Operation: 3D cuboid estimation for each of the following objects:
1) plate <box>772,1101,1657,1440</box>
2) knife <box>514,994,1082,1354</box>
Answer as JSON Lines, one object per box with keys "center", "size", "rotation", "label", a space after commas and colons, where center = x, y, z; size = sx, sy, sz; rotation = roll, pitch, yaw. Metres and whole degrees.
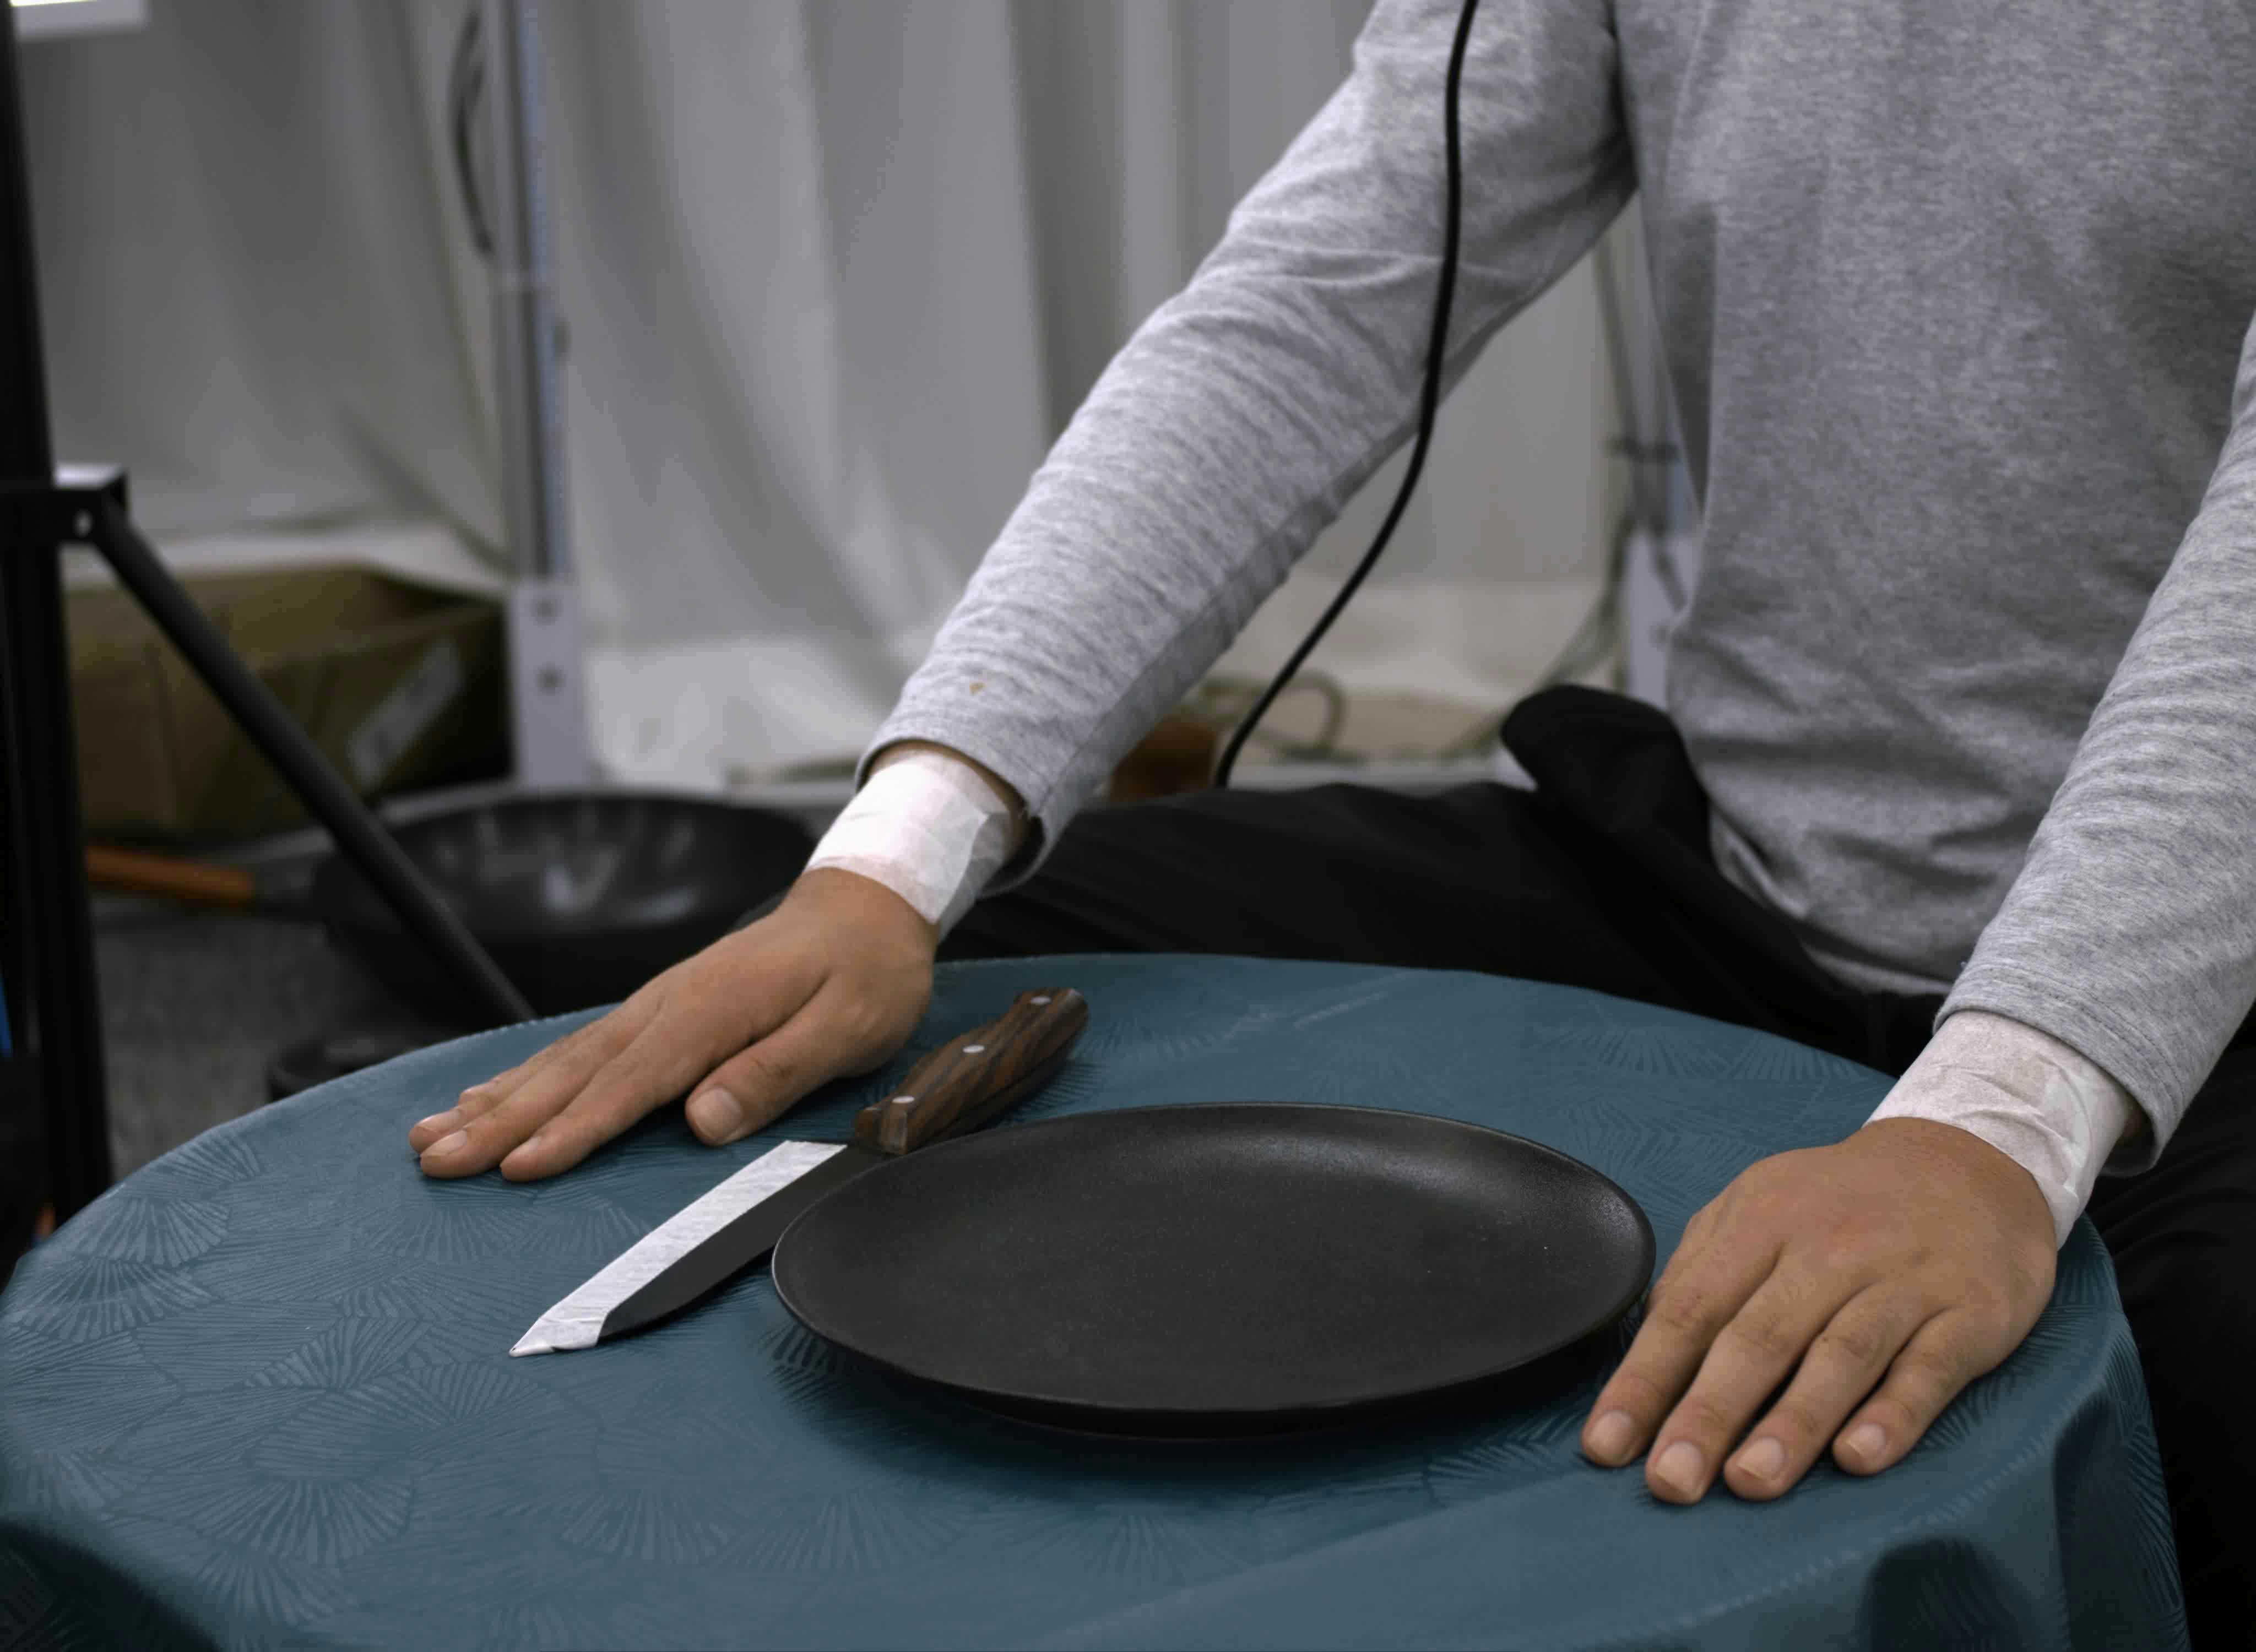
{"center": [0.024, 0.125, 1.457], "size": [0.243, 0.023, 0.245], "rotation": [-3, 16, -1], "label": "plate"}
{"center": [-0.092, 0.103, 1.569], "size": [0.051, 0.020, 0.284], "rotation": [1, 18, 32], "label": "knife"}
